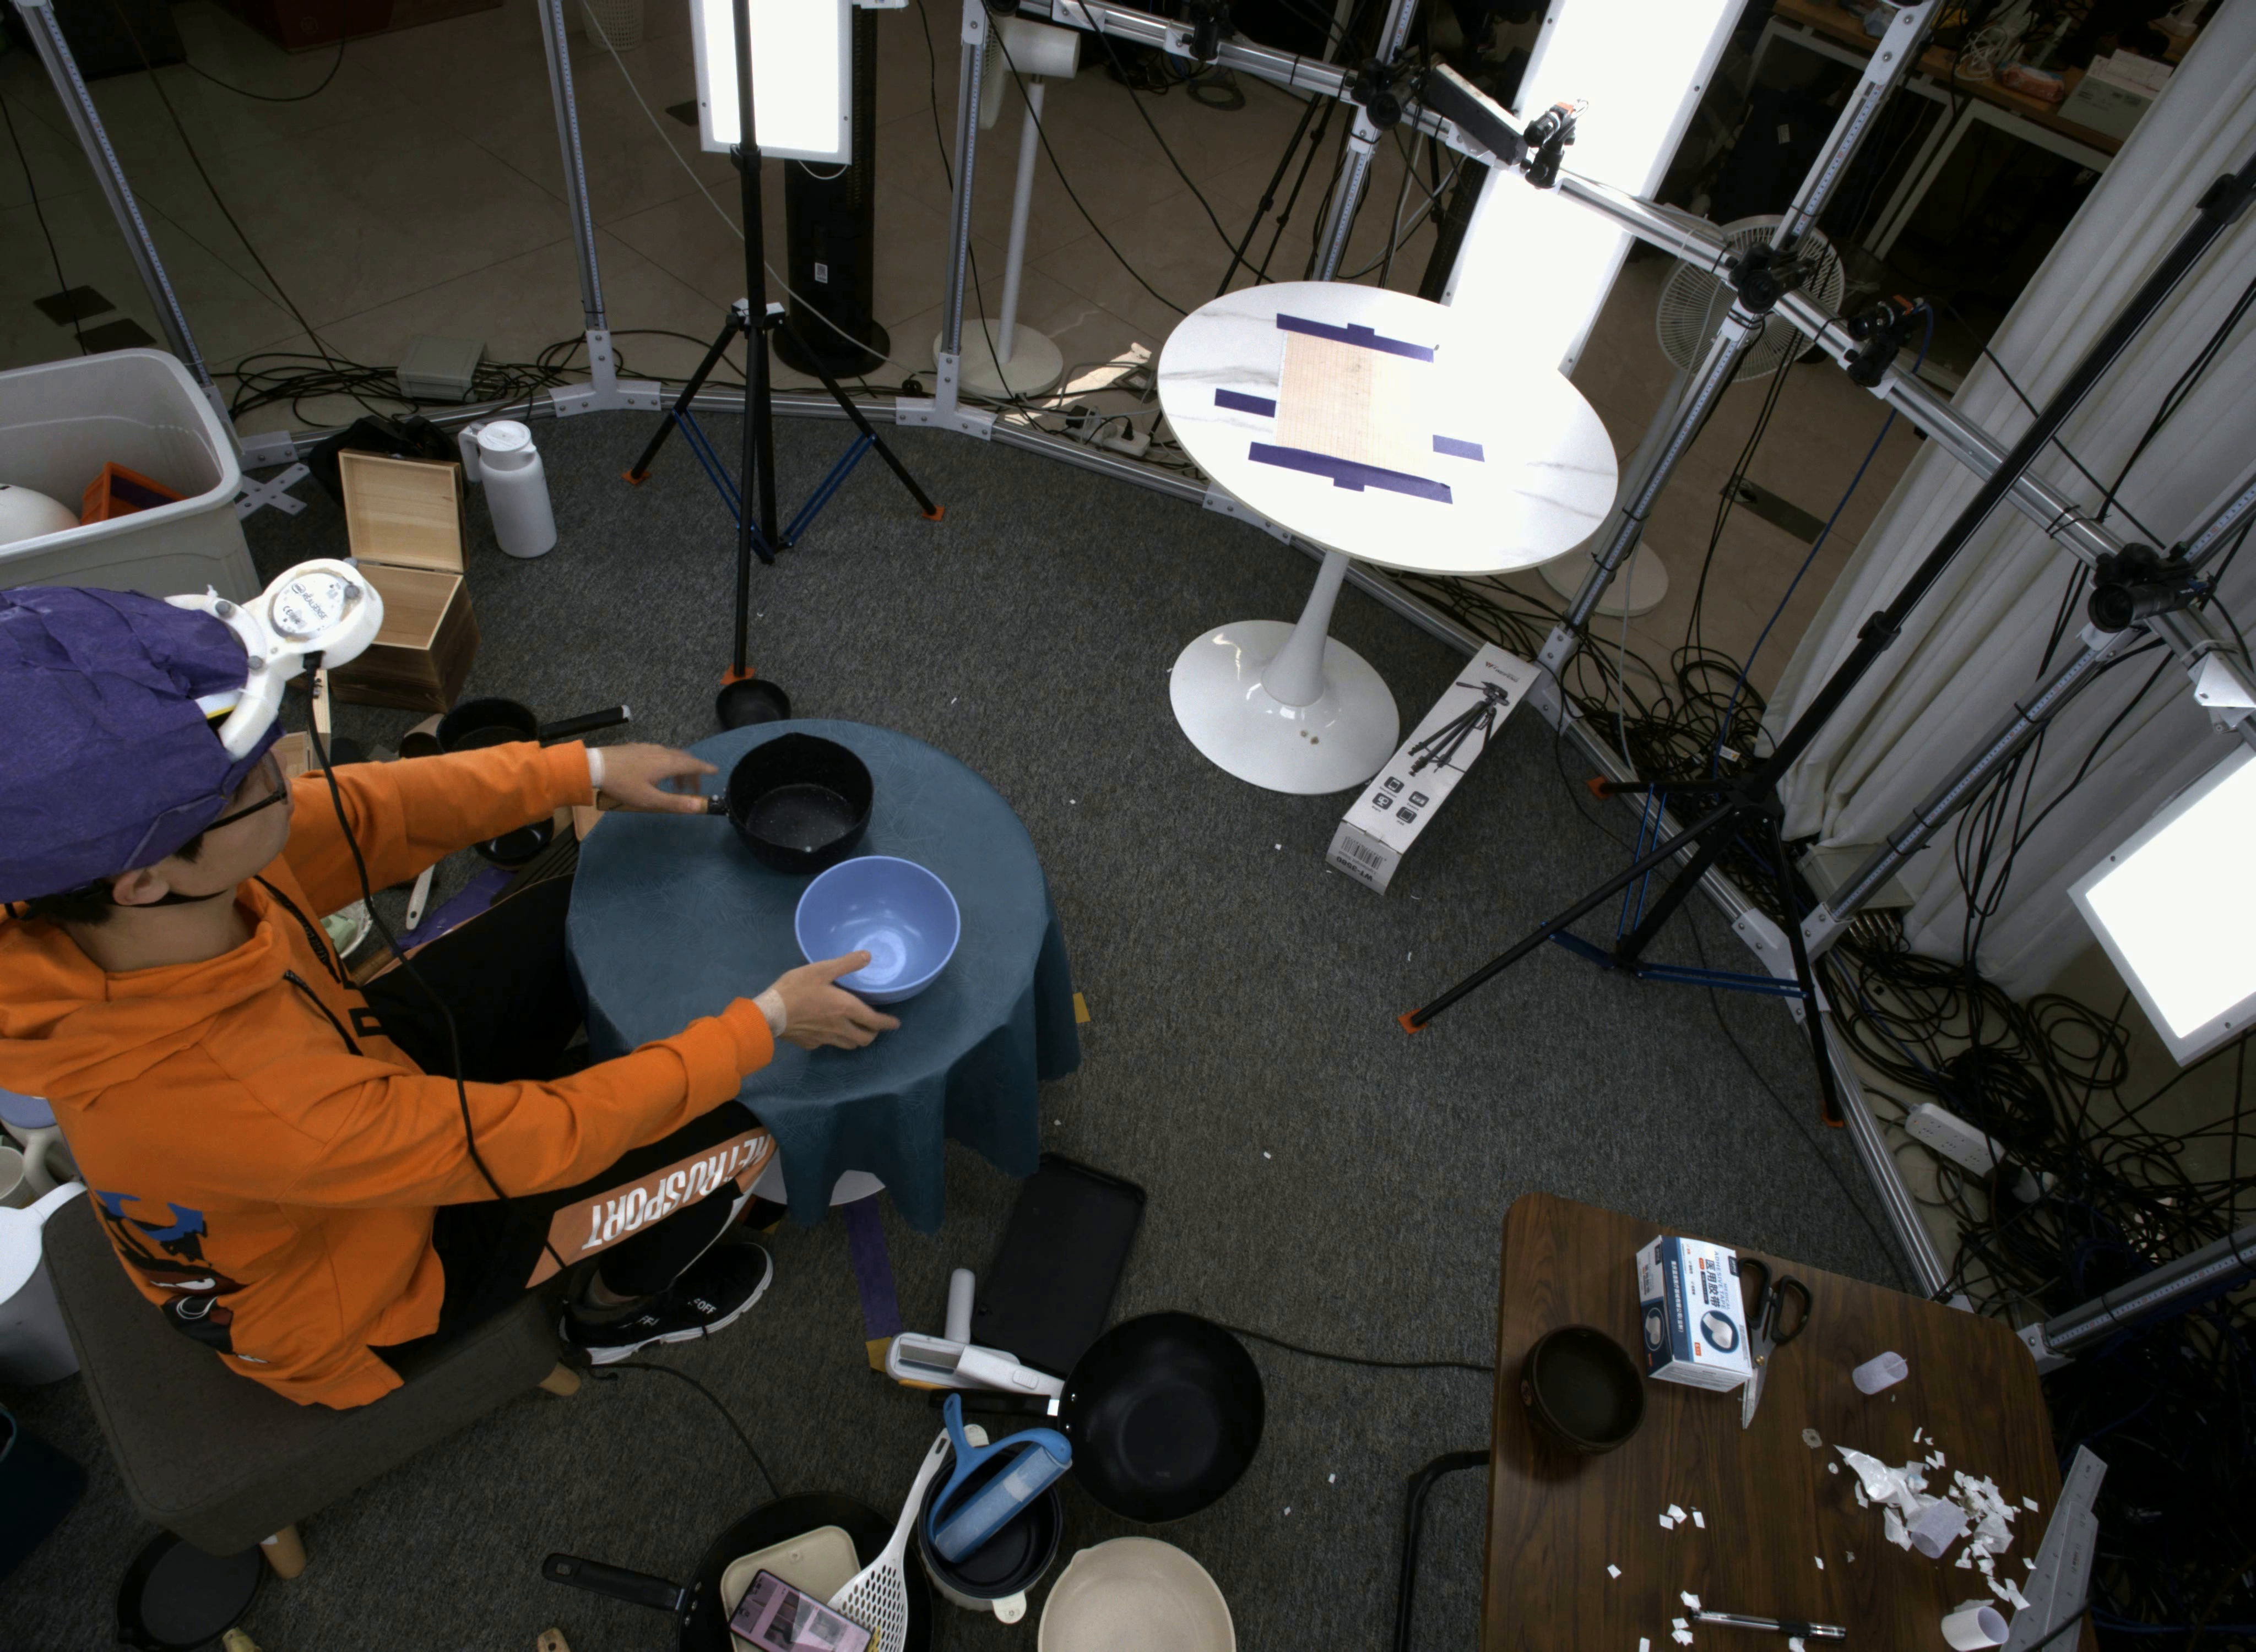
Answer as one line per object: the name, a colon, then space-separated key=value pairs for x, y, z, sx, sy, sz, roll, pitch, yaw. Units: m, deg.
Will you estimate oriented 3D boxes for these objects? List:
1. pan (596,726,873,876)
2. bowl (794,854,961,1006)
pan: x=-0.497 y=-0.022 z=1.640 sx=0.345 sy=0.110 sz=0.203 roll=-6 pitch=56 yaw=-21
bowl: x=-0.304 y=0.140 z=1.579 sx=0.196 sy=0.097 sz=0.193 roll=9 pitch=52 yaw=-9
